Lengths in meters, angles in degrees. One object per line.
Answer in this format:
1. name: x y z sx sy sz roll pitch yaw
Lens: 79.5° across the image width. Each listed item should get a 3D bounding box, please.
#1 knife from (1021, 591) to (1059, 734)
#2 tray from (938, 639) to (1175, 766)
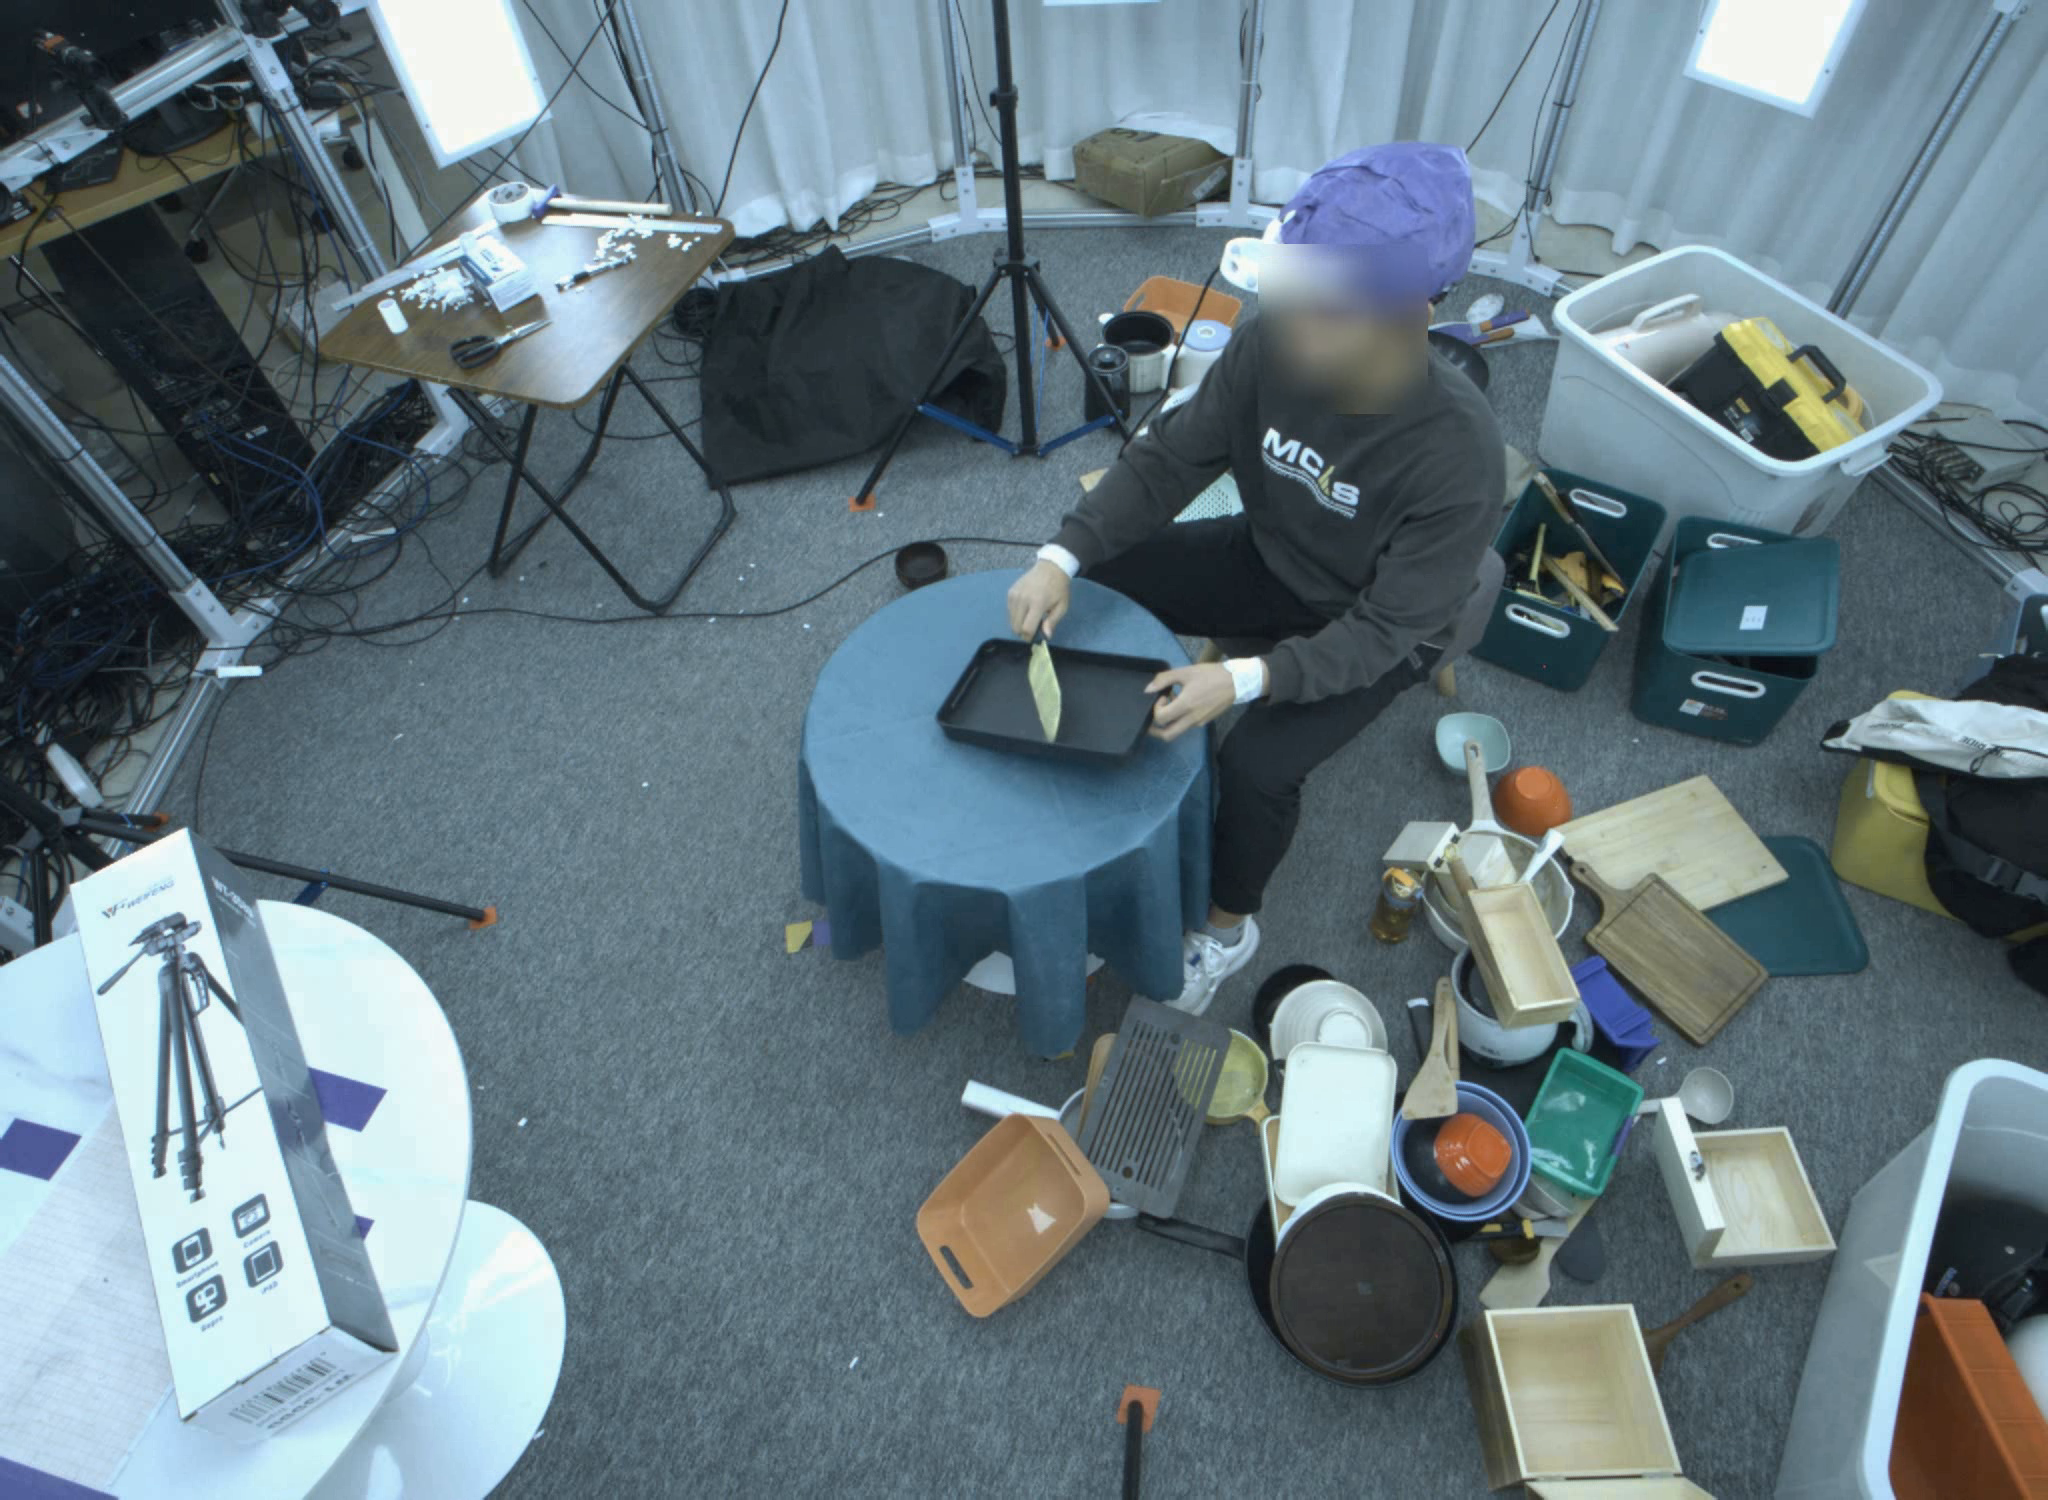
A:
1. knife: 0.021 -0.130 1.808 0.027 0.081 0.285 8 45 -20
2. tray: 0.047 -0.073 1.774 0.312 0.037 0.184 9 52 27
